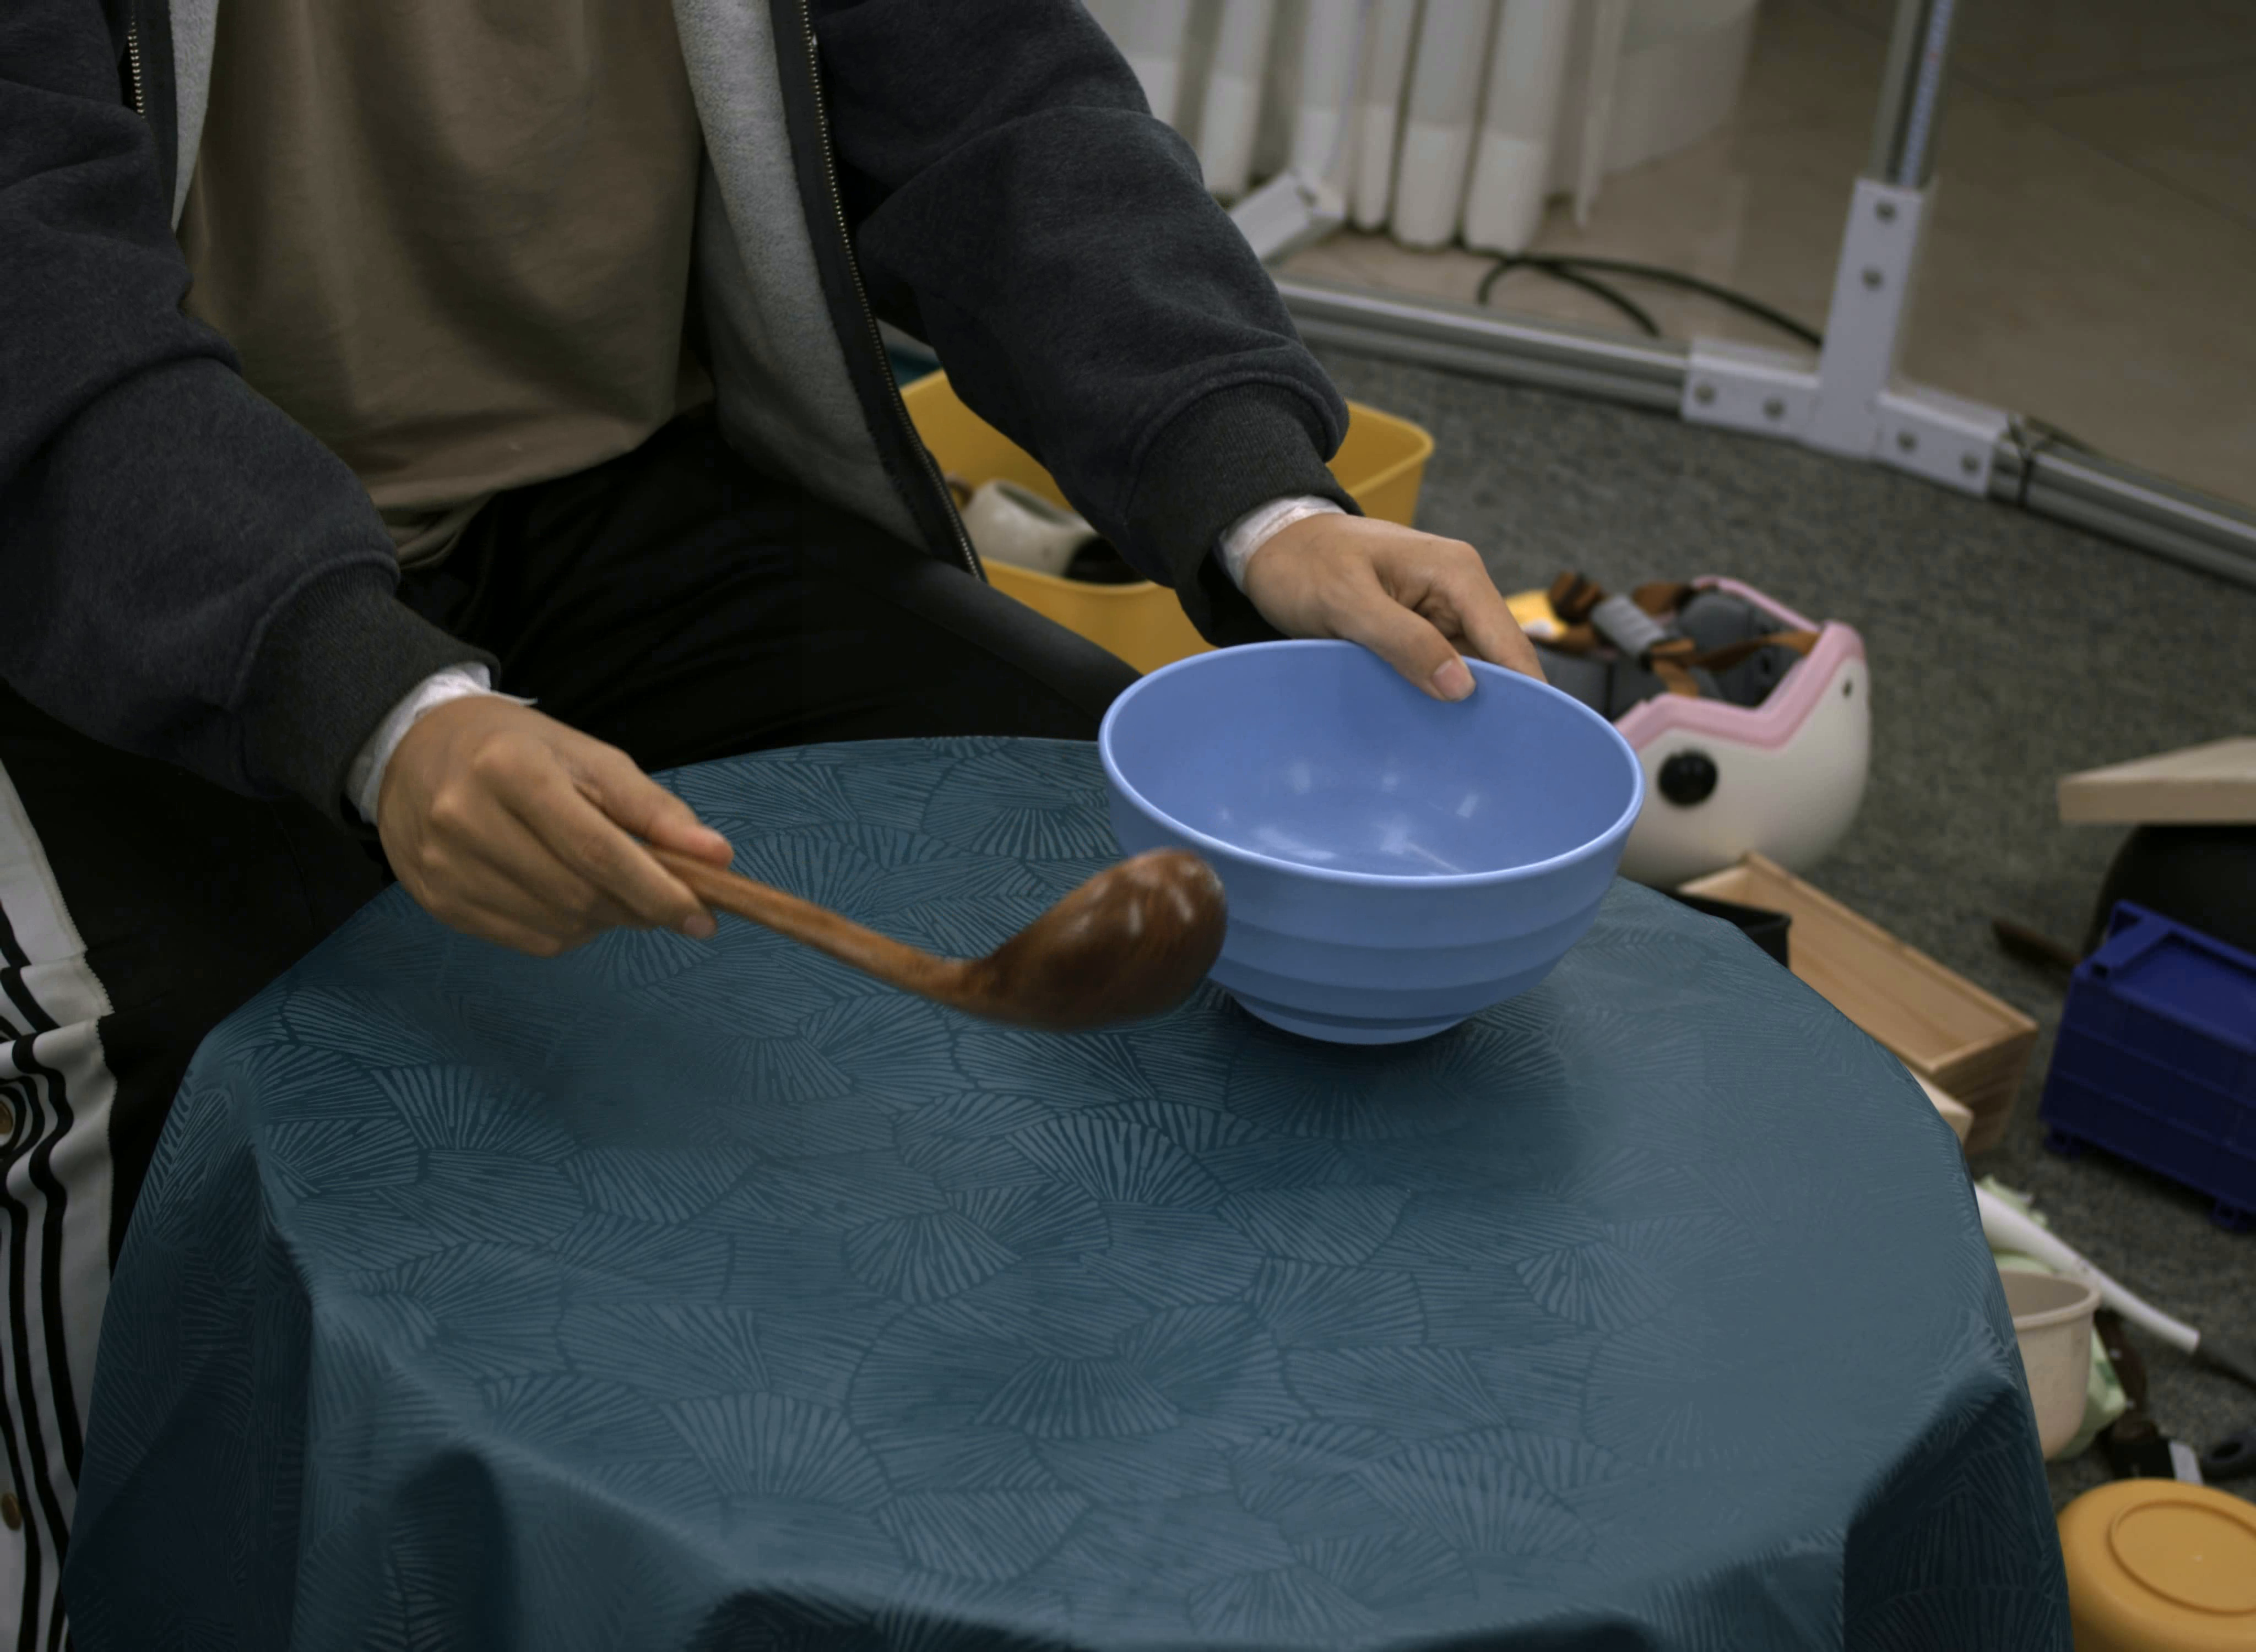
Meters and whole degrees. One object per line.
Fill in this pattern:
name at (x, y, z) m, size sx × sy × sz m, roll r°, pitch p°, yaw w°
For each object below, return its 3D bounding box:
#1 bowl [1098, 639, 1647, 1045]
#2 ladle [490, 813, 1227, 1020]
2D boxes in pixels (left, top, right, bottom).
bowl at (0.084, 0.016, 1.914) m, size 0.196 × 0.095 × 0.197 m, roll 3°, pitch 26°, yaw -2°
ladle at (-0.093, 0.005, 1.767) m, size 0.275 × 0.077 × 0.081 m, roll 17°, pitch -8°, yaw 31°
